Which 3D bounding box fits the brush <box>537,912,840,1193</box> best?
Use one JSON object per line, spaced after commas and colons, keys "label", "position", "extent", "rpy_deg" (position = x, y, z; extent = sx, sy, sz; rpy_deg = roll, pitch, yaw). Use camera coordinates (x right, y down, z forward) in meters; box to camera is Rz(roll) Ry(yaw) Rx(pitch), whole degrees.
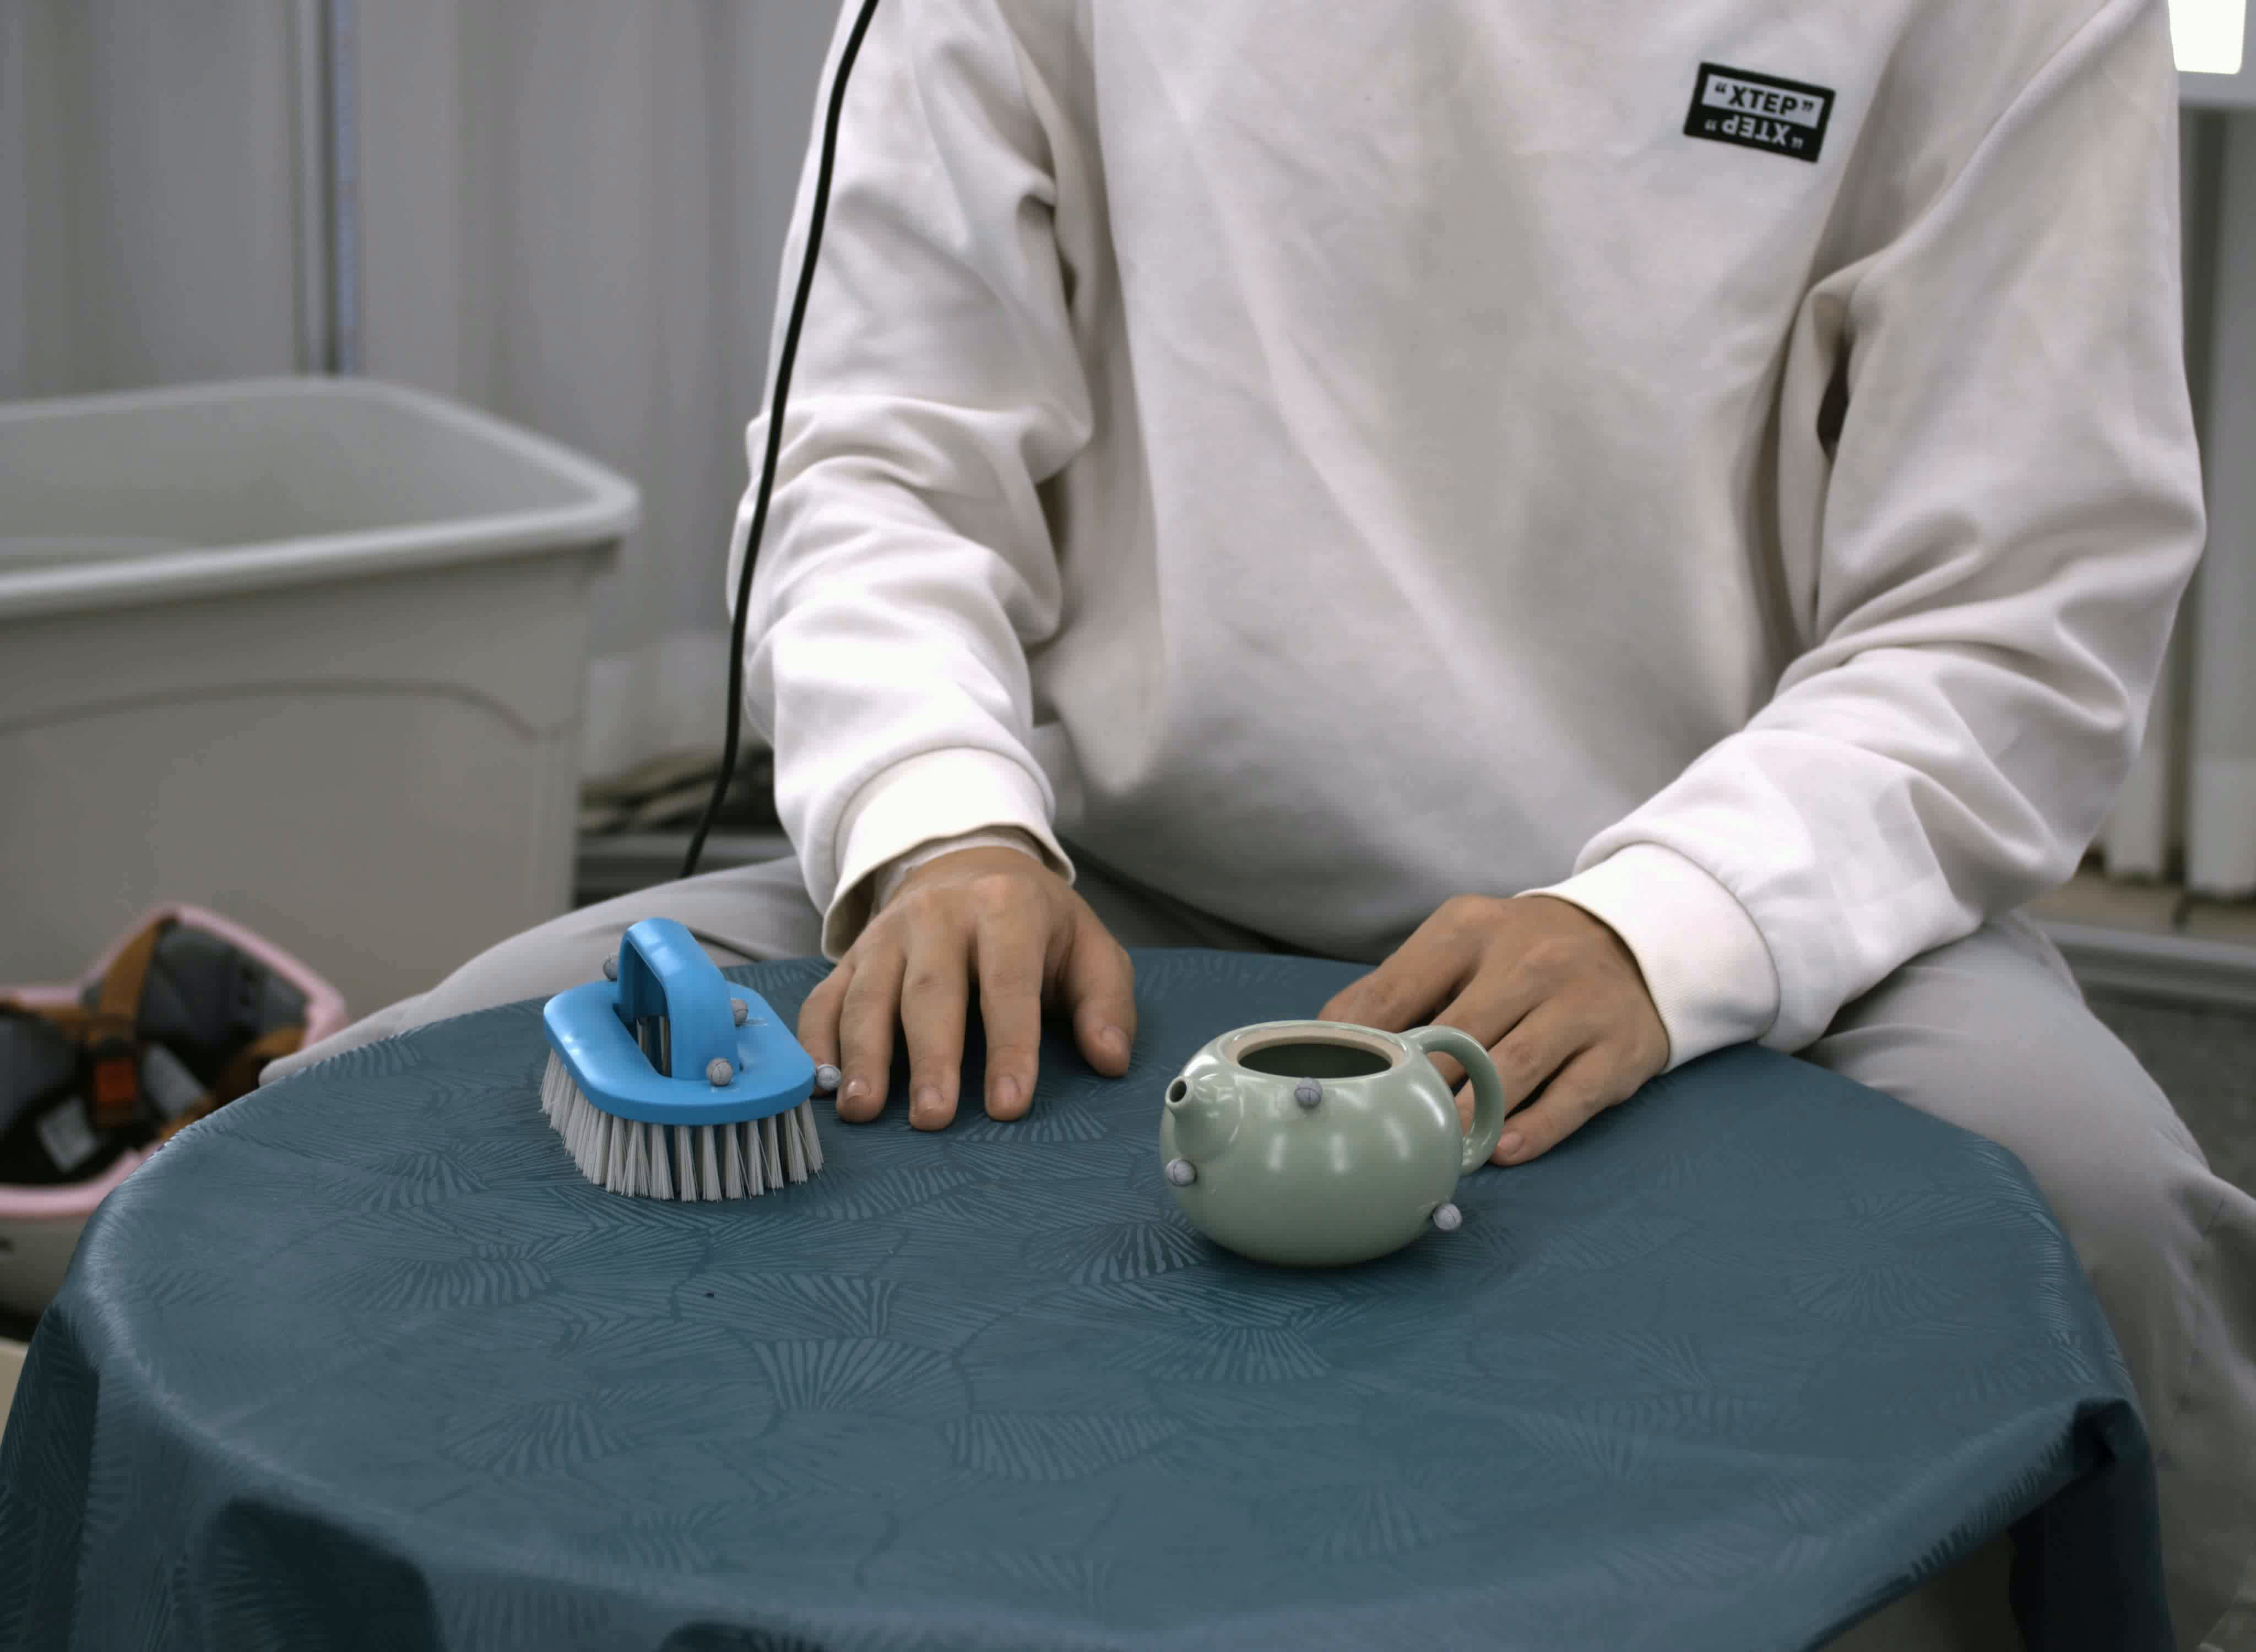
{"label": "brush", "position": [-0.143, 0.065, 1.670], "extent": [0.084, 0.064, 0.140], "rpy_deg": [-9, 17, -14]}

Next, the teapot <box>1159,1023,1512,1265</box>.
{"label": "teapot", "position": [0.063, 0.095, 1.588], "extent": [0.129, 0.061, 0.090], "rpy_deg": [-7, 14, -32]}
